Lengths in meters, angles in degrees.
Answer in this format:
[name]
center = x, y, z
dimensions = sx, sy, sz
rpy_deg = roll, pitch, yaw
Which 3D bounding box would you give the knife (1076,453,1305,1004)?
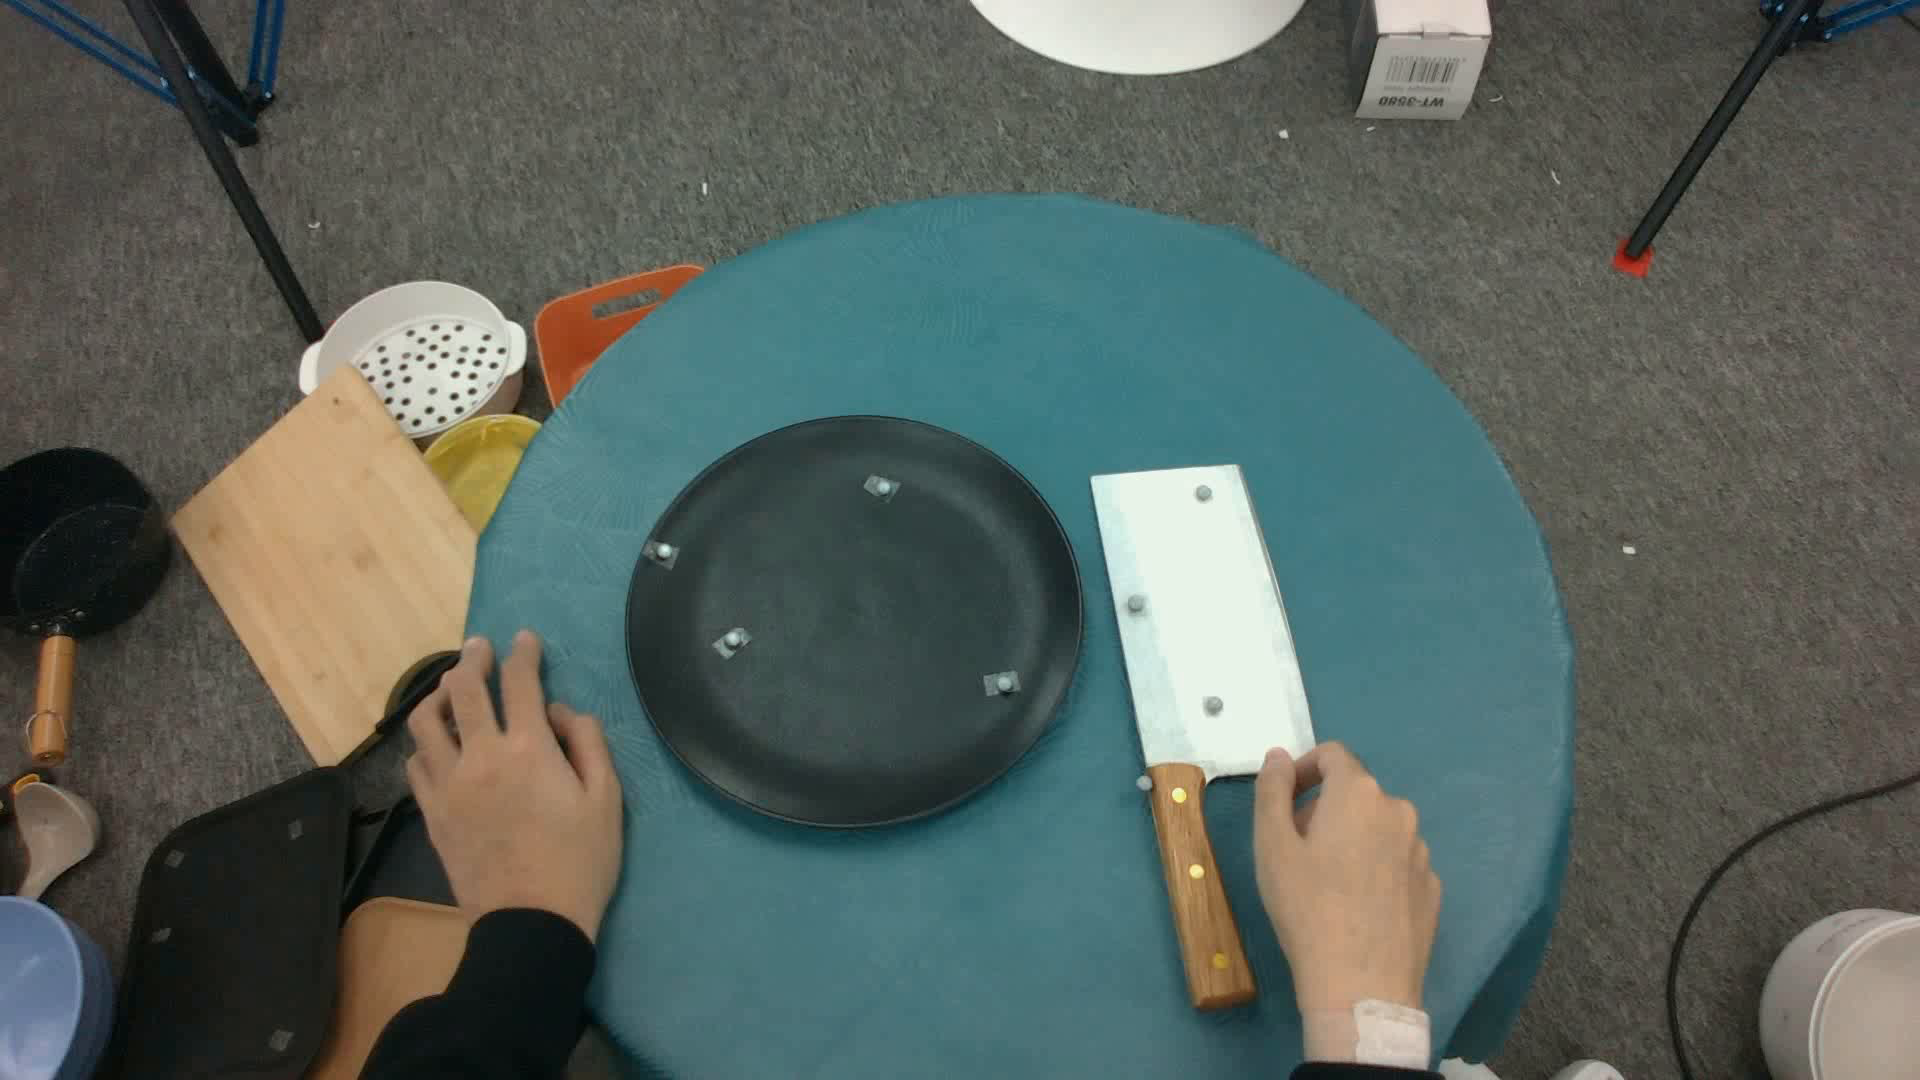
[knife]
center = 0.128, 0.081, 0.719
dimensions = 0.093, 0.021, 0.307
rpy_deg = -5, 59, -6

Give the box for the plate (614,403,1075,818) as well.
[plate]
center = -0.060, 0.033, 0.735
dimensions = 0.244, 0.023, 0.245
rpy_deg = 1, 61, -1
